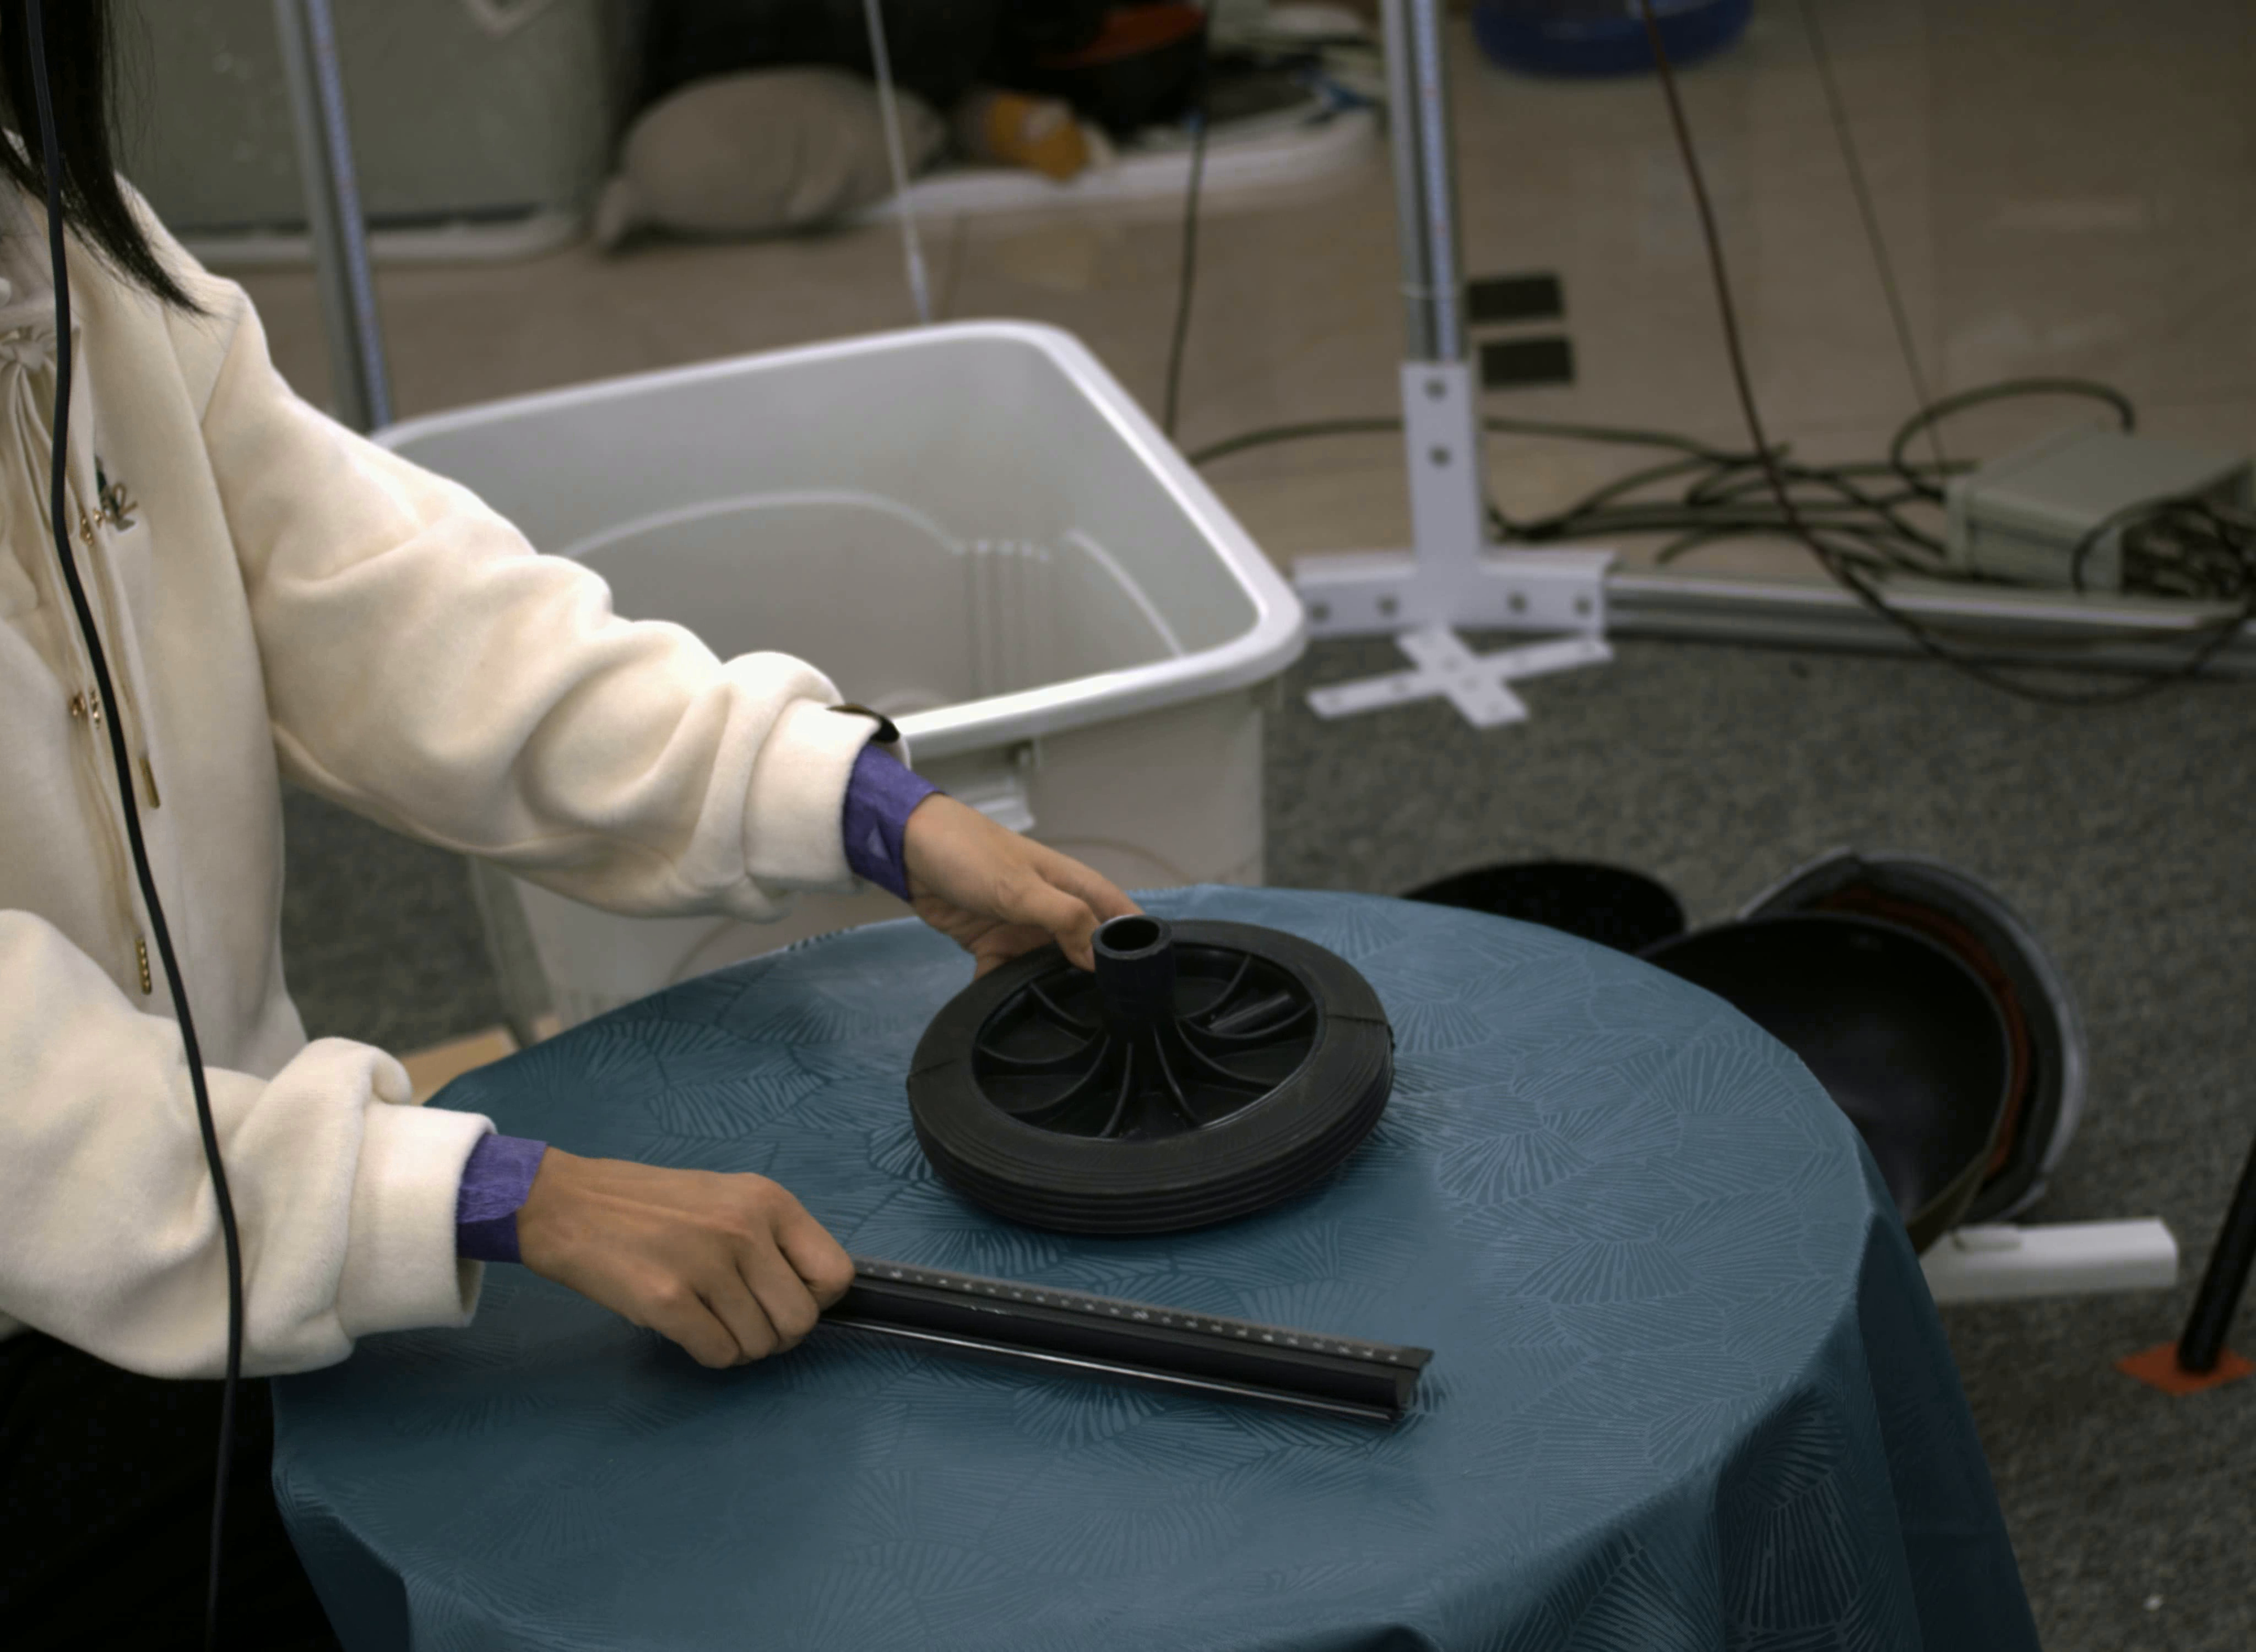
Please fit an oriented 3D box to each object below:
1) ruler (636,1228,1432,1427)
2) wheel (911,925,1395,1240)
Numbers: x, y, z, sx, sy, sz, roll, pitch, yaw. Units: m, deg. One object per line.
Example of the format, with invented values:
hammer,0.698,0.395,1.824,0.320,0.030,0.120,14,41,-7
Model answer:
ruler,-0.038,0.174,2.042,0.311,0.017,0.039,8,35,26
wheel,0.007,0.079,2.172,0.186,0.080,0.187,16,38,33
